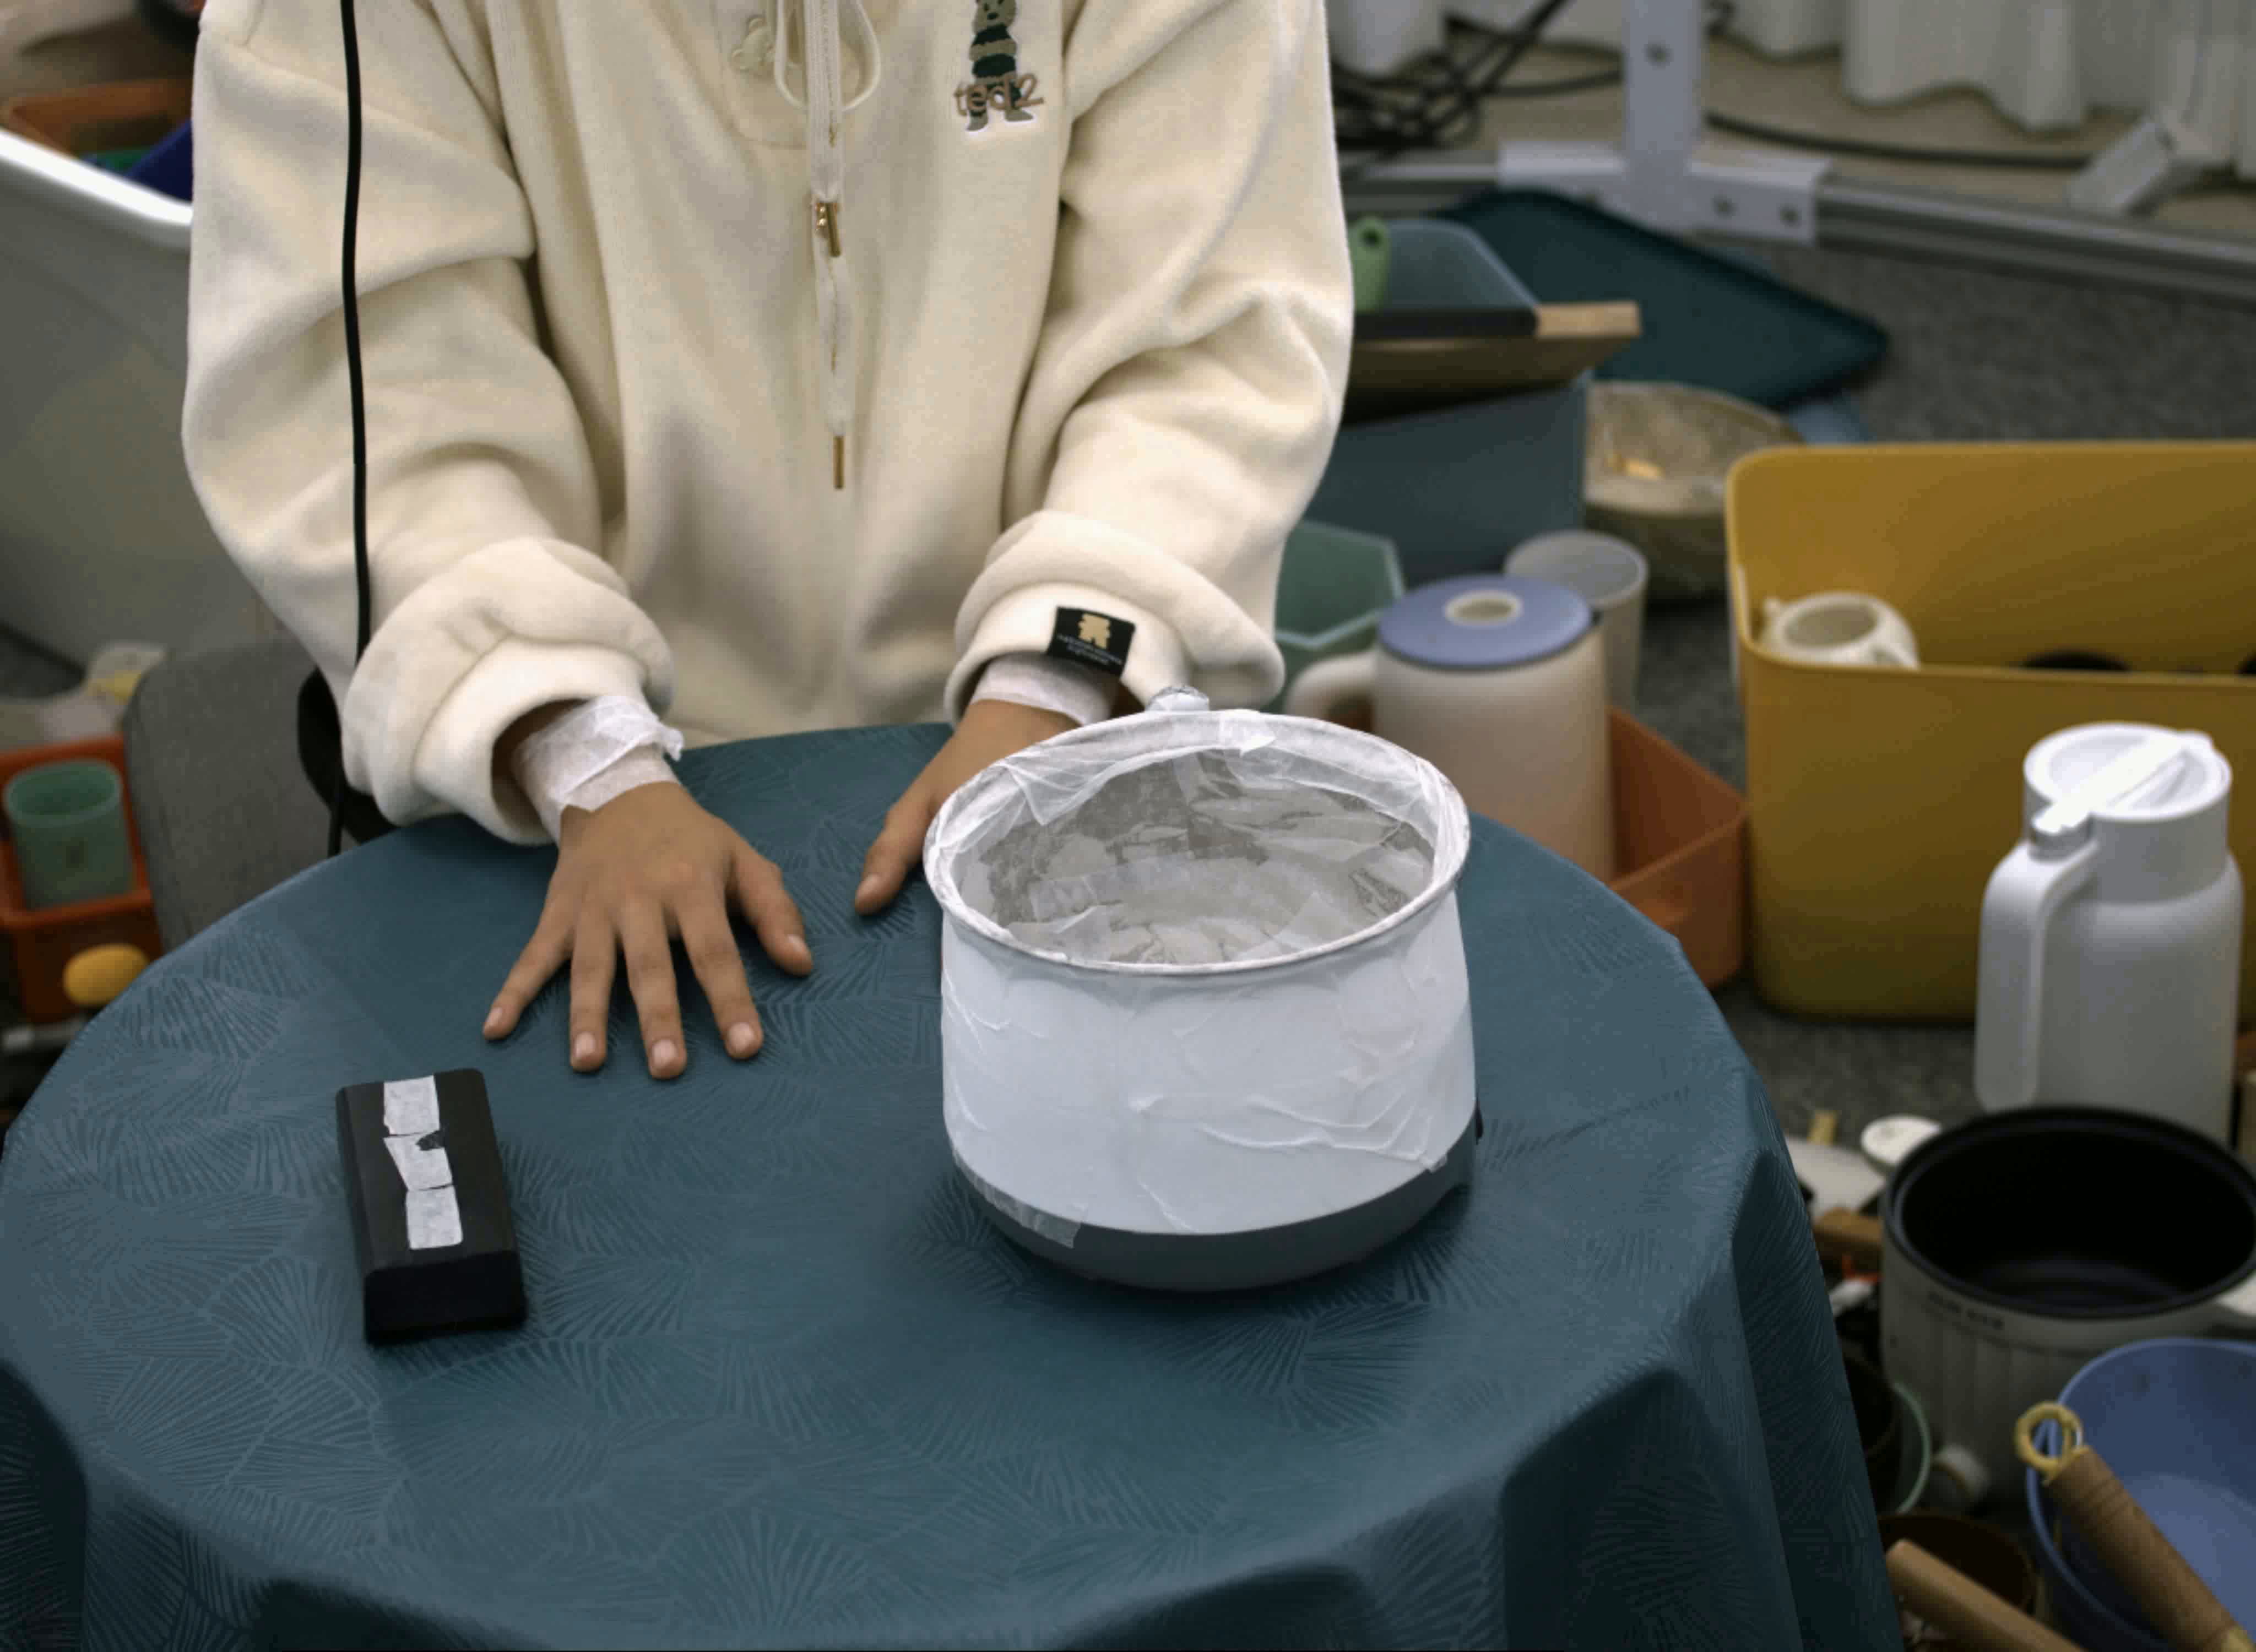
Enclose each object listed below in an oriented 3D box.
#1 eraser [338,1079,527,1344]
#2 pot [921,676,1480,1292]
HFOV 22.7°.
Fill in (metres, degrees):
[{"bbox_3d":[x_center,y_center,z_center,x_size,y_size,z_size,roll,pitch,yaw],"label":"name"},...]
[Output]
[{"bbox_3d":[-0.229,0.126,1.846,0.053,0.030,0.127,-7,26,-9],"label":"eraser"},{"bbox_3d":[0.023,0.044,1.858,0.178,0.135,0.237,-4,28,-3],"label":"pot"}]
